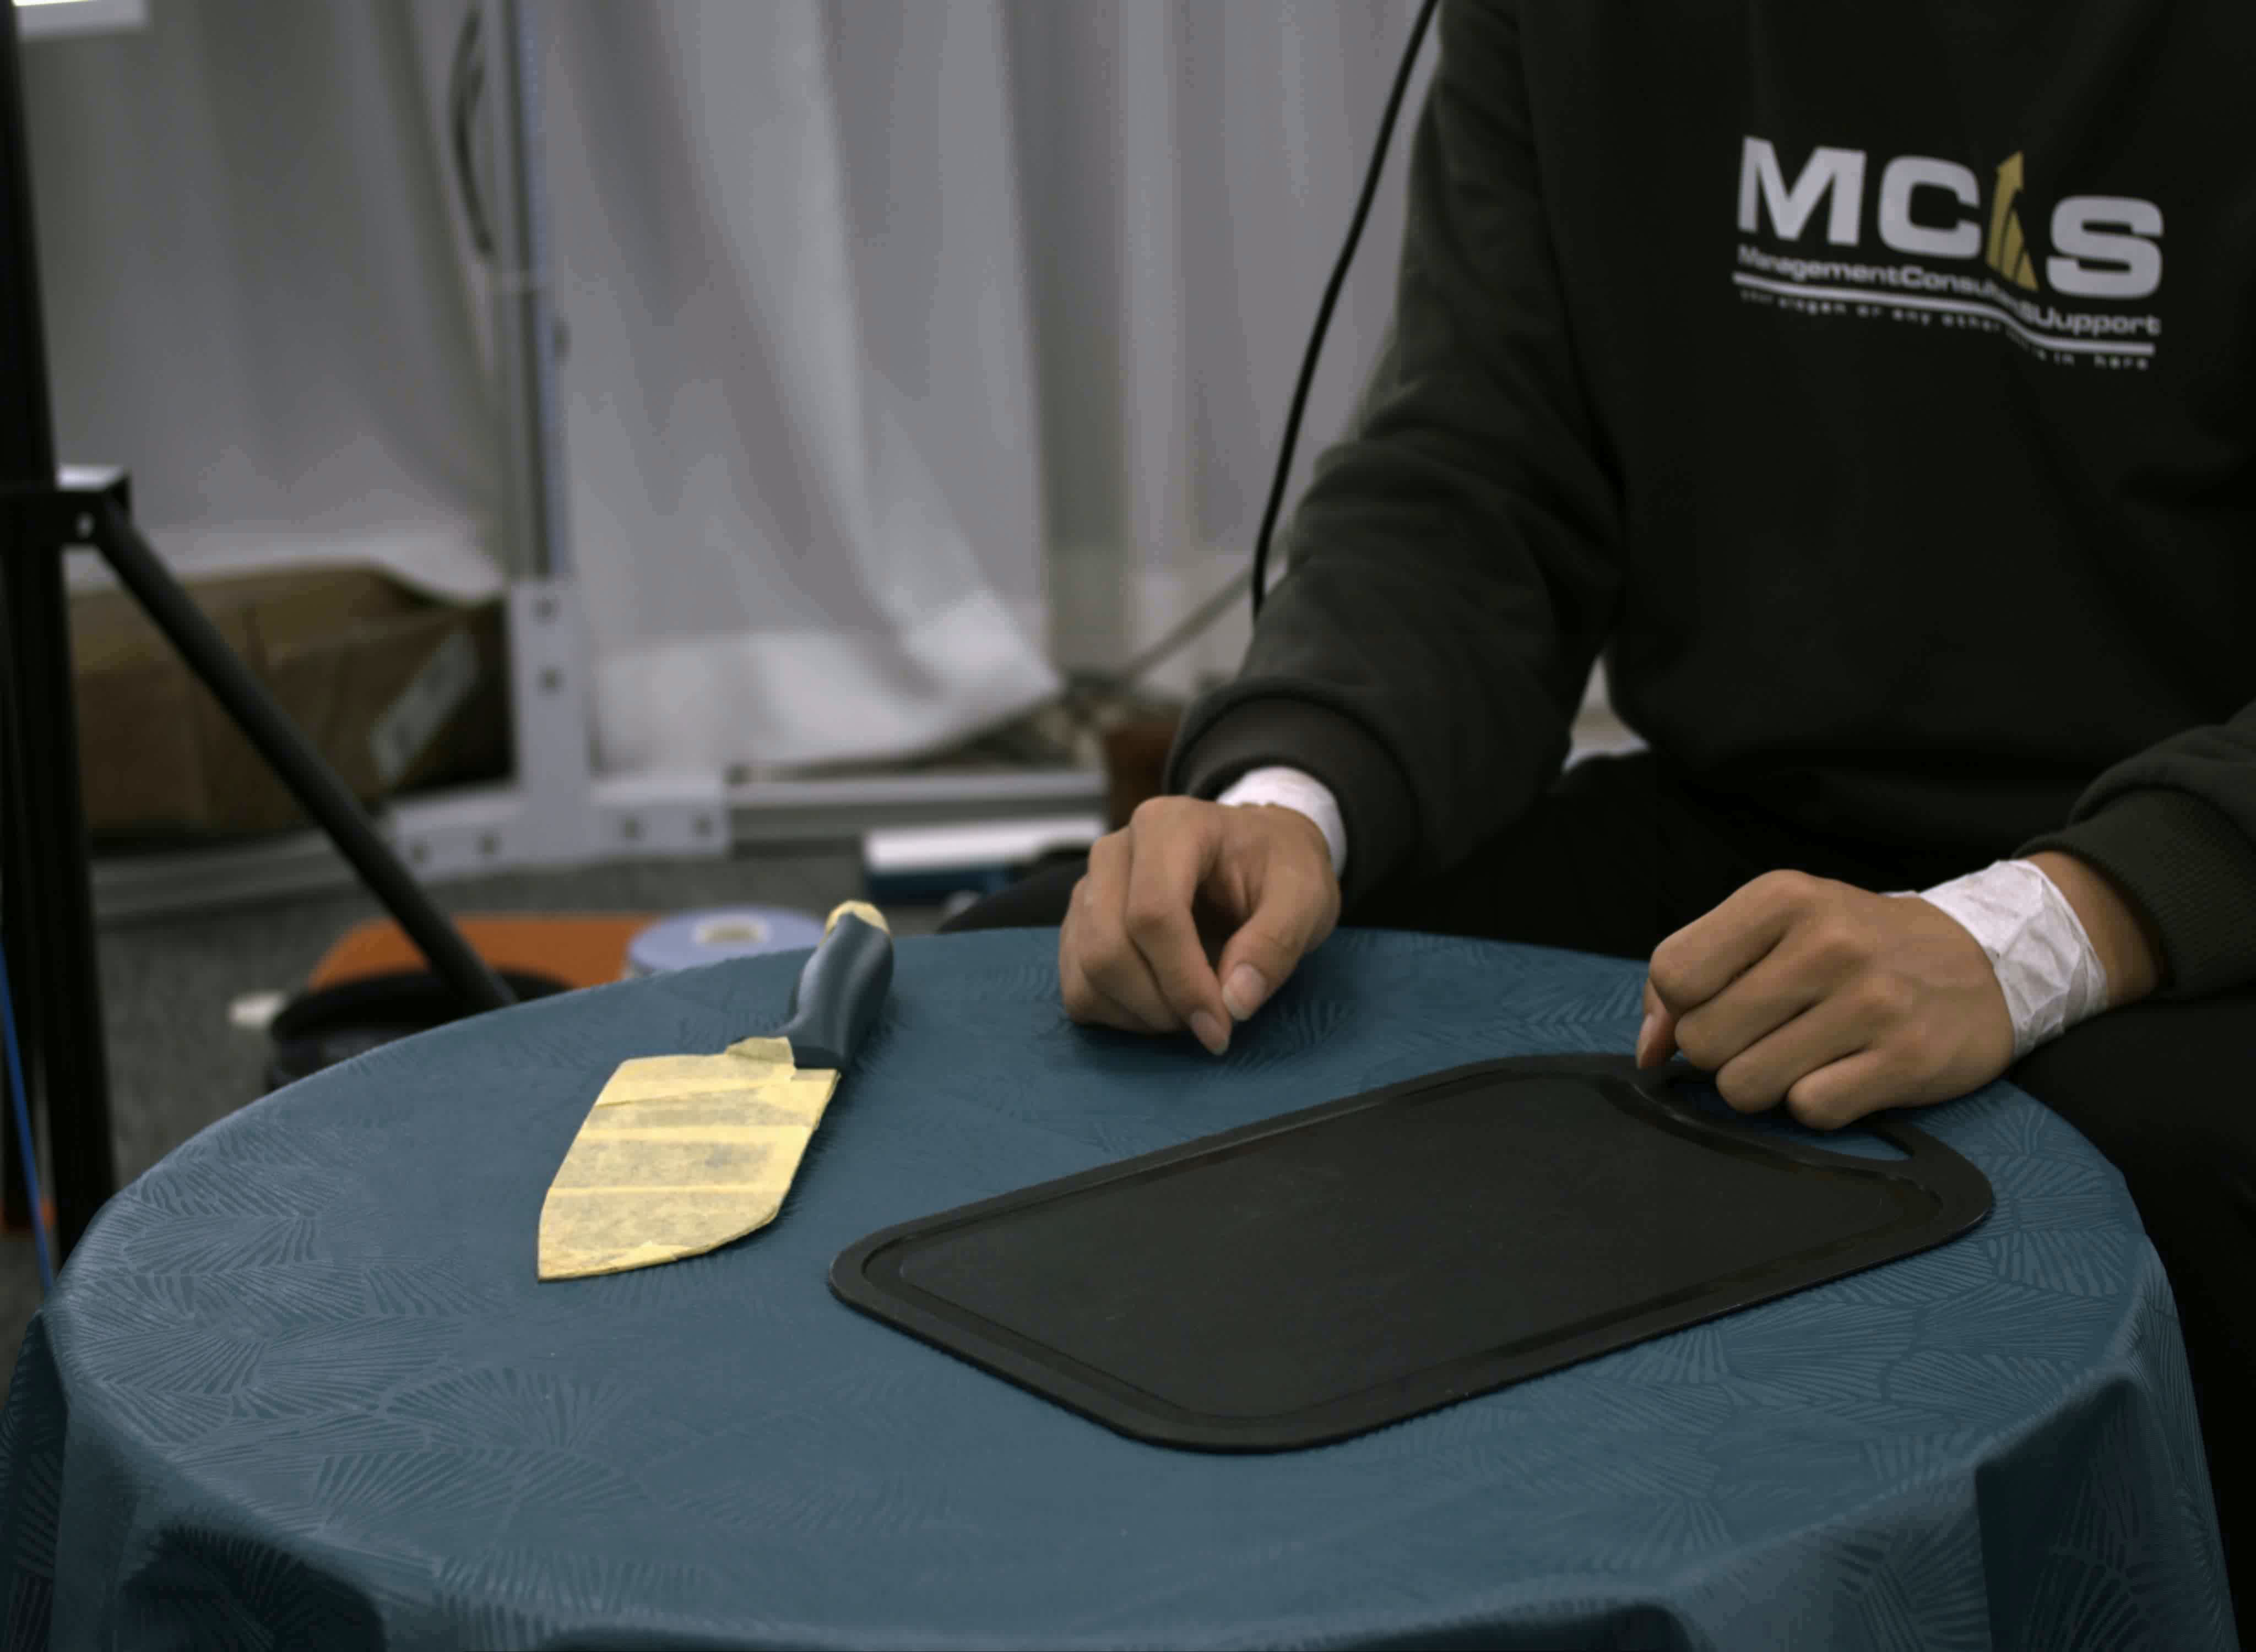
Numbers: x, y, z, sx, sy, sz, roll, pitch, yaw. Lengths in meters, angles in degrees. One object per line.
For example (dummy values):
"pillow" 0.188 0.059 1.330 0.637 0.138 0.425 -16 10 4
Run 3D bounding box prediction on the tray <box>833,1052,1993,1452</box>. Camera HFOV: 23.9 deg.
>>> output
"tray" 0.089 0.113 1.516 0.318 0.010 0.216 -13 19 -33

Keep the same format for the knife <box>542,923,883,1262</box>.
"knife" -0.124 0.082 1.646 0.081 0.027 0.288 2 17 10
